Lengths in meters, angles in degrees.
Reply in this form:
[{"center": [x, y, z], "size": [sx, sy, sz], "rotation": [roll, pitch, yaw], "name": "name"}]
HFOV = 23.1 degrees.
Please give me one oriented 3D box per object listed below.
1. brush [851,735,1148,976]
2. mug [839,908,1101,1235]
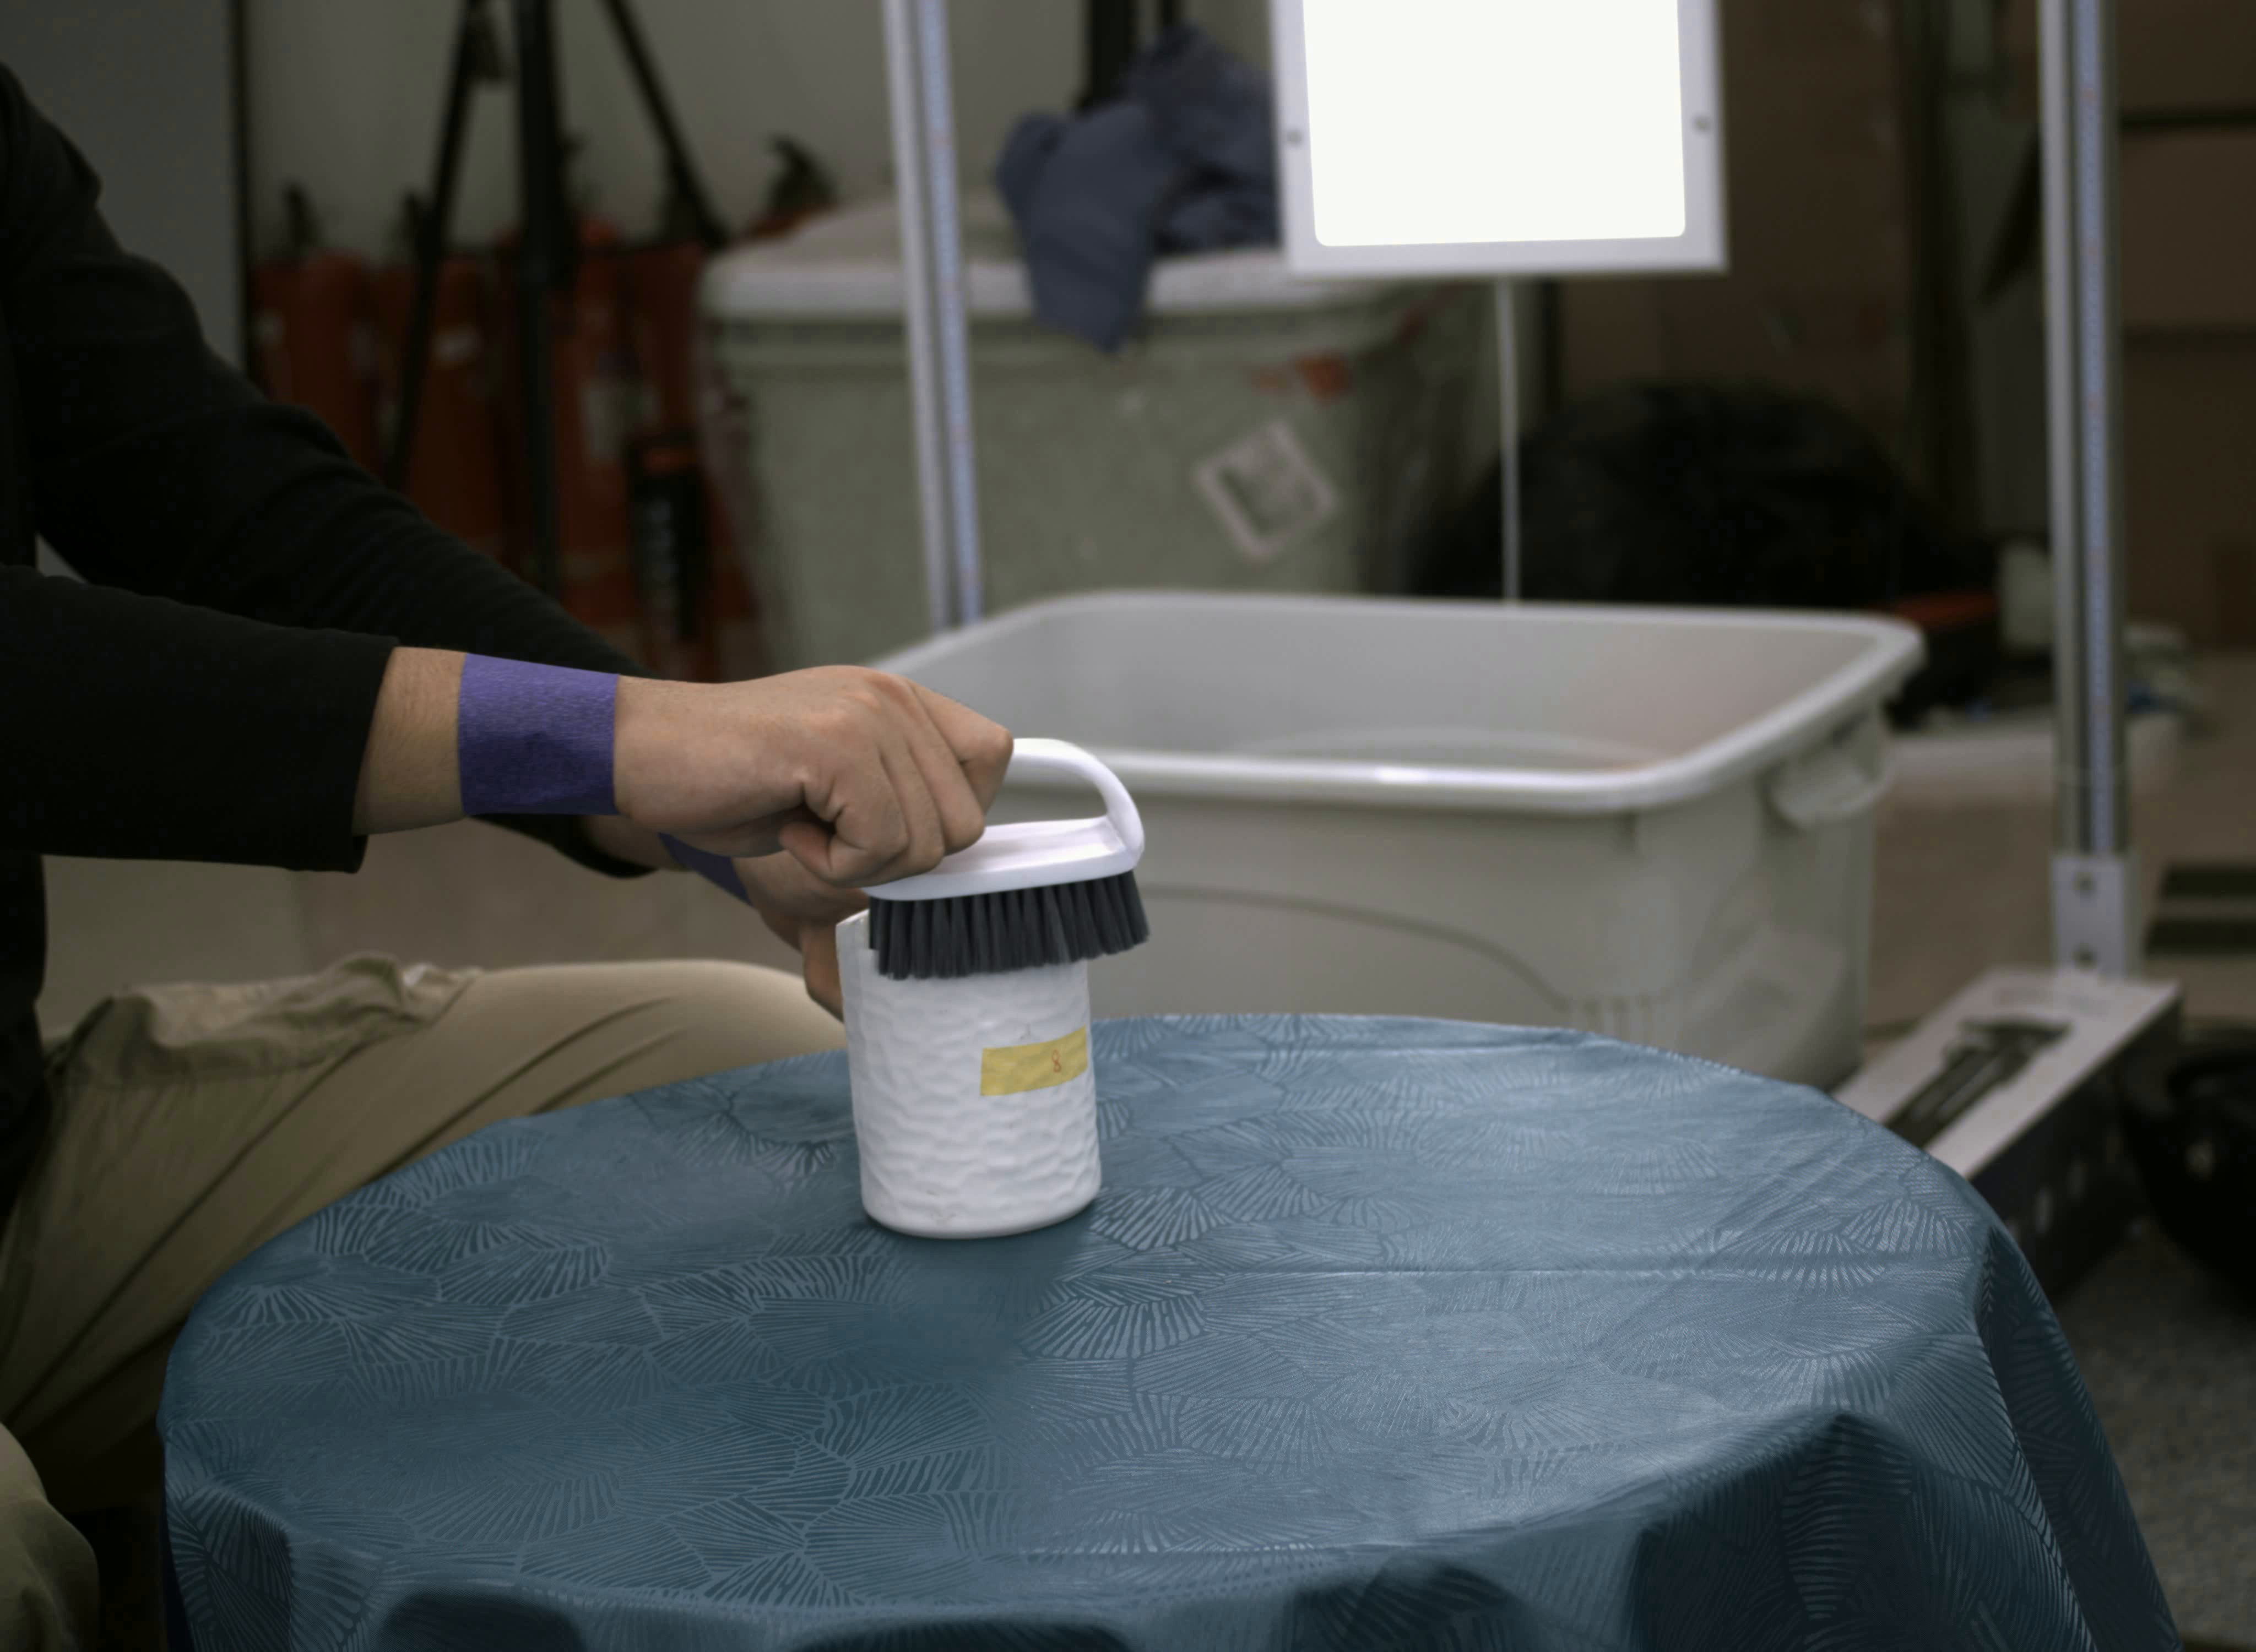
[{"center": [-0.044, 0.006, 1.838], "size": [0.098, 0.073, 0.050], "rotation": [-6, 17, -7], "name": "brush"}, {"center": [-0.059, 0.078, 1.902], "size": [0.083, 0.102, 0.119], "rotation": [-8, 13, -17], "name": "mug"}]
